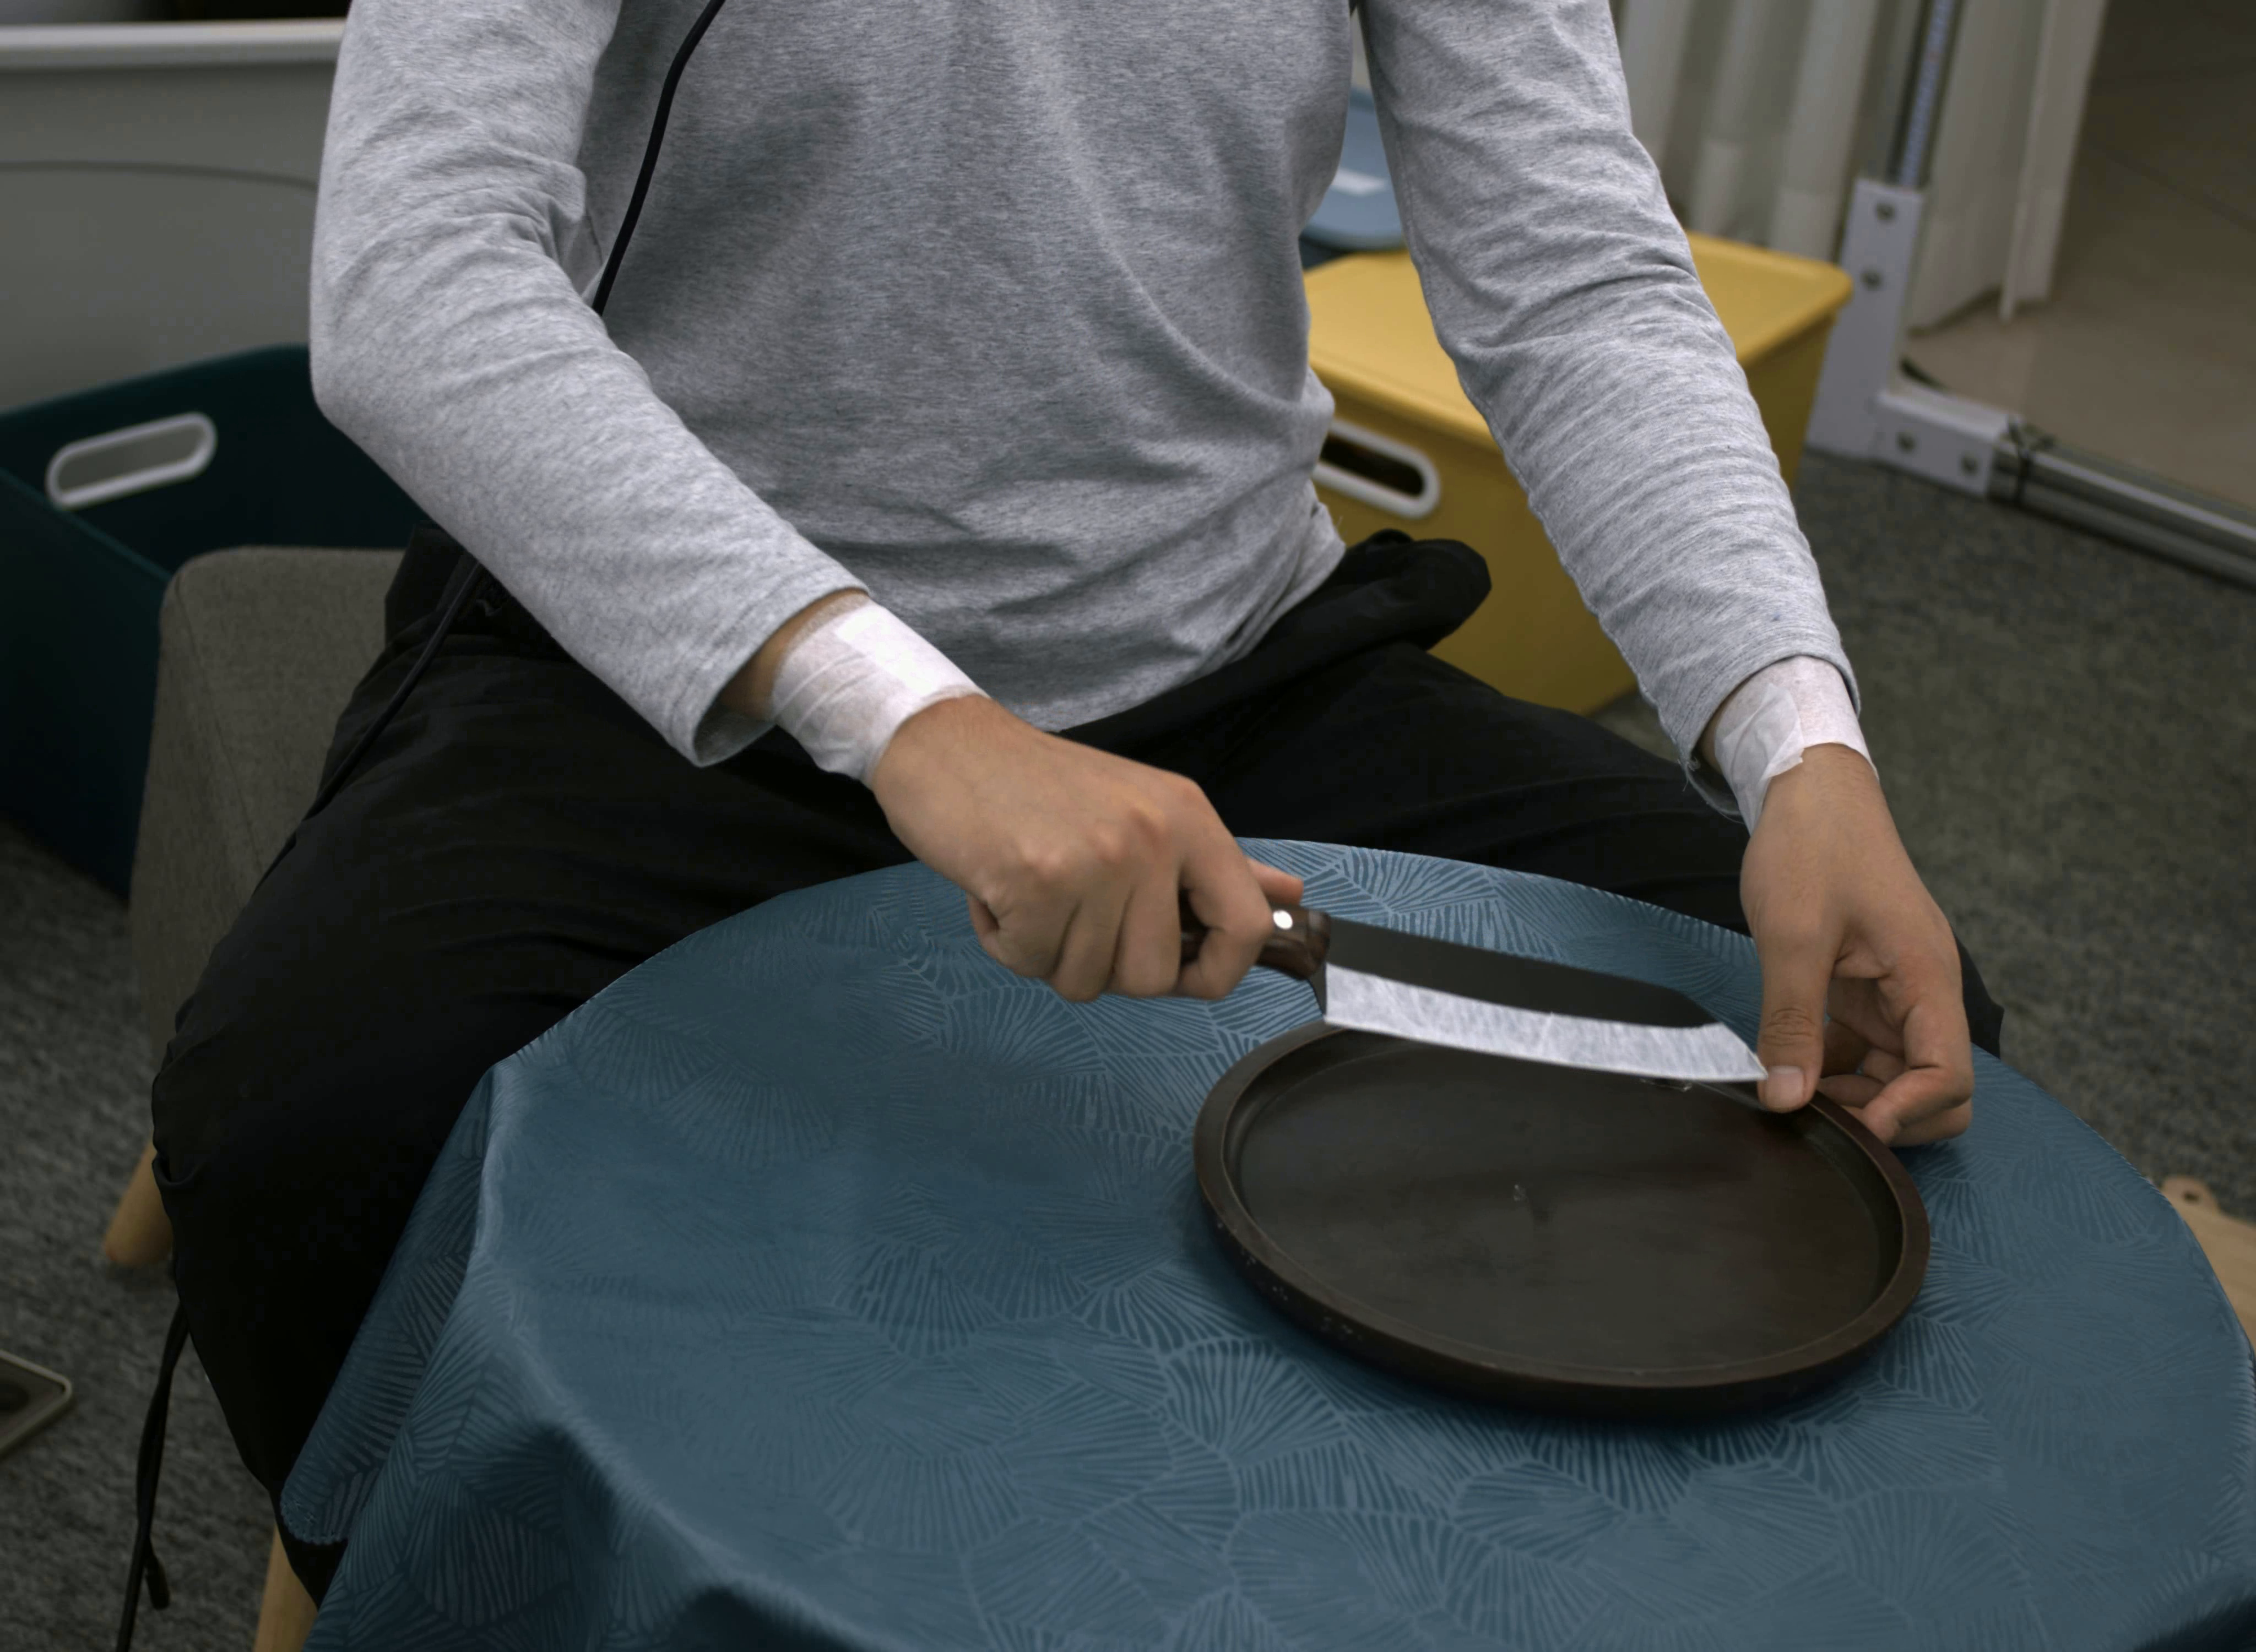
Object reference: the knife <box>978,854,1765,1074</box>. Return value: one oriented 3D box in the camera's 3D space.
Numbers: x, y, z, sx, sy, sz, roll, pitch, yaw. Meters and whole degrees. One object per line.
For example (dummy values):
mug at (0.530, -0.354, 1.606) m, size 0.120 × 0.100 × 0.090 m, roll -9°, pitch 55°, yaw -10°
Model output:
knife at (0.086, 0.049, 1.815) m, size 0.287 × 0.020 × 0.050 m, roll 13°, pitch 52°, yaw -14°

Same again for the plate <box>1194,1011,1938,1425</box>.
plate at (0.147, 0.127, 1.800) m, size 0.254 × 0.029 × 0.256 m, roll 2°, pitch 28°, yaw -1°
